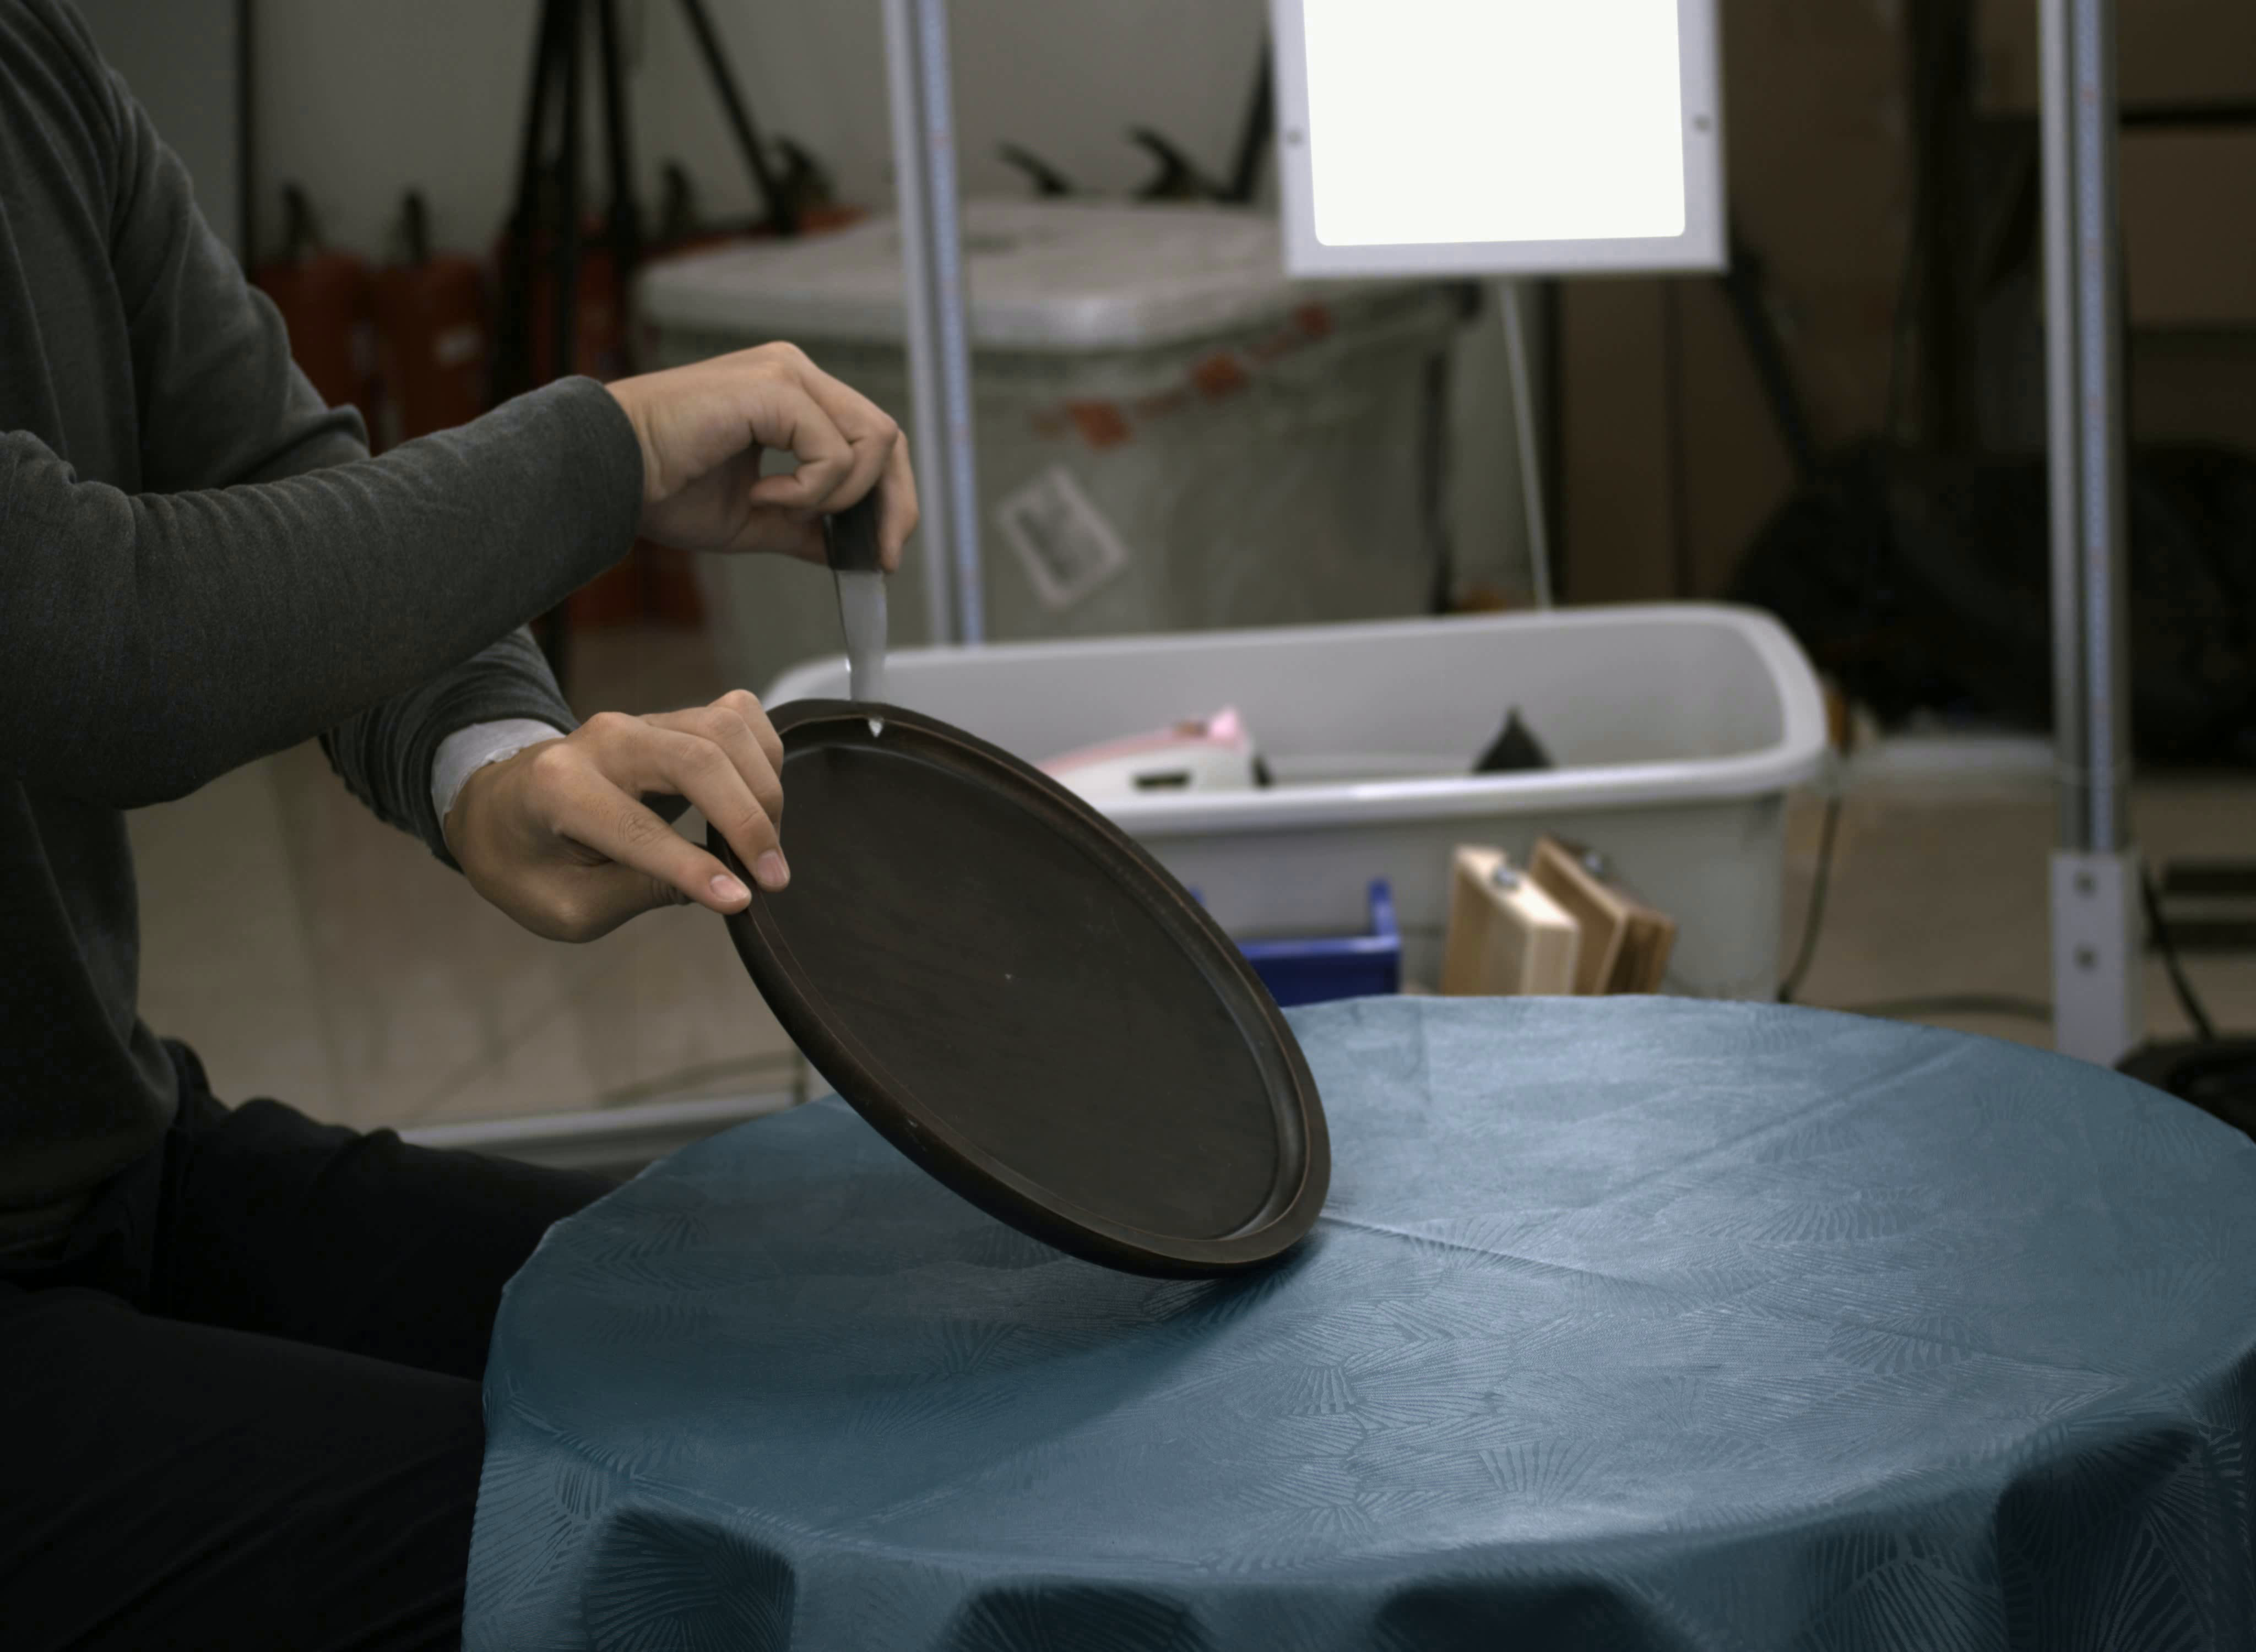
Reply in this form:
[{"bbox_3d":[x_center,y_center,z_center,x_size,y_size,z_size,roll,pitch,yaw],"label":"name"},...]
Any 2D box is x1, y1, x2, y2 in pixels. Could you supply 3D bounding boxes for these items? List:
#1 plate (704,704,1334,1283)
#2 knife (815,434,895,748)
[{"bbox_3d":[-0.037,0.055,1.838,0.251,0.029,0.254,31,27,-20],"label":"plate"},{"bbox_3d":[-0.098,-0.086,1.975,0.024,0.016,0.238,35,20,-22],"label":"knife"}]
